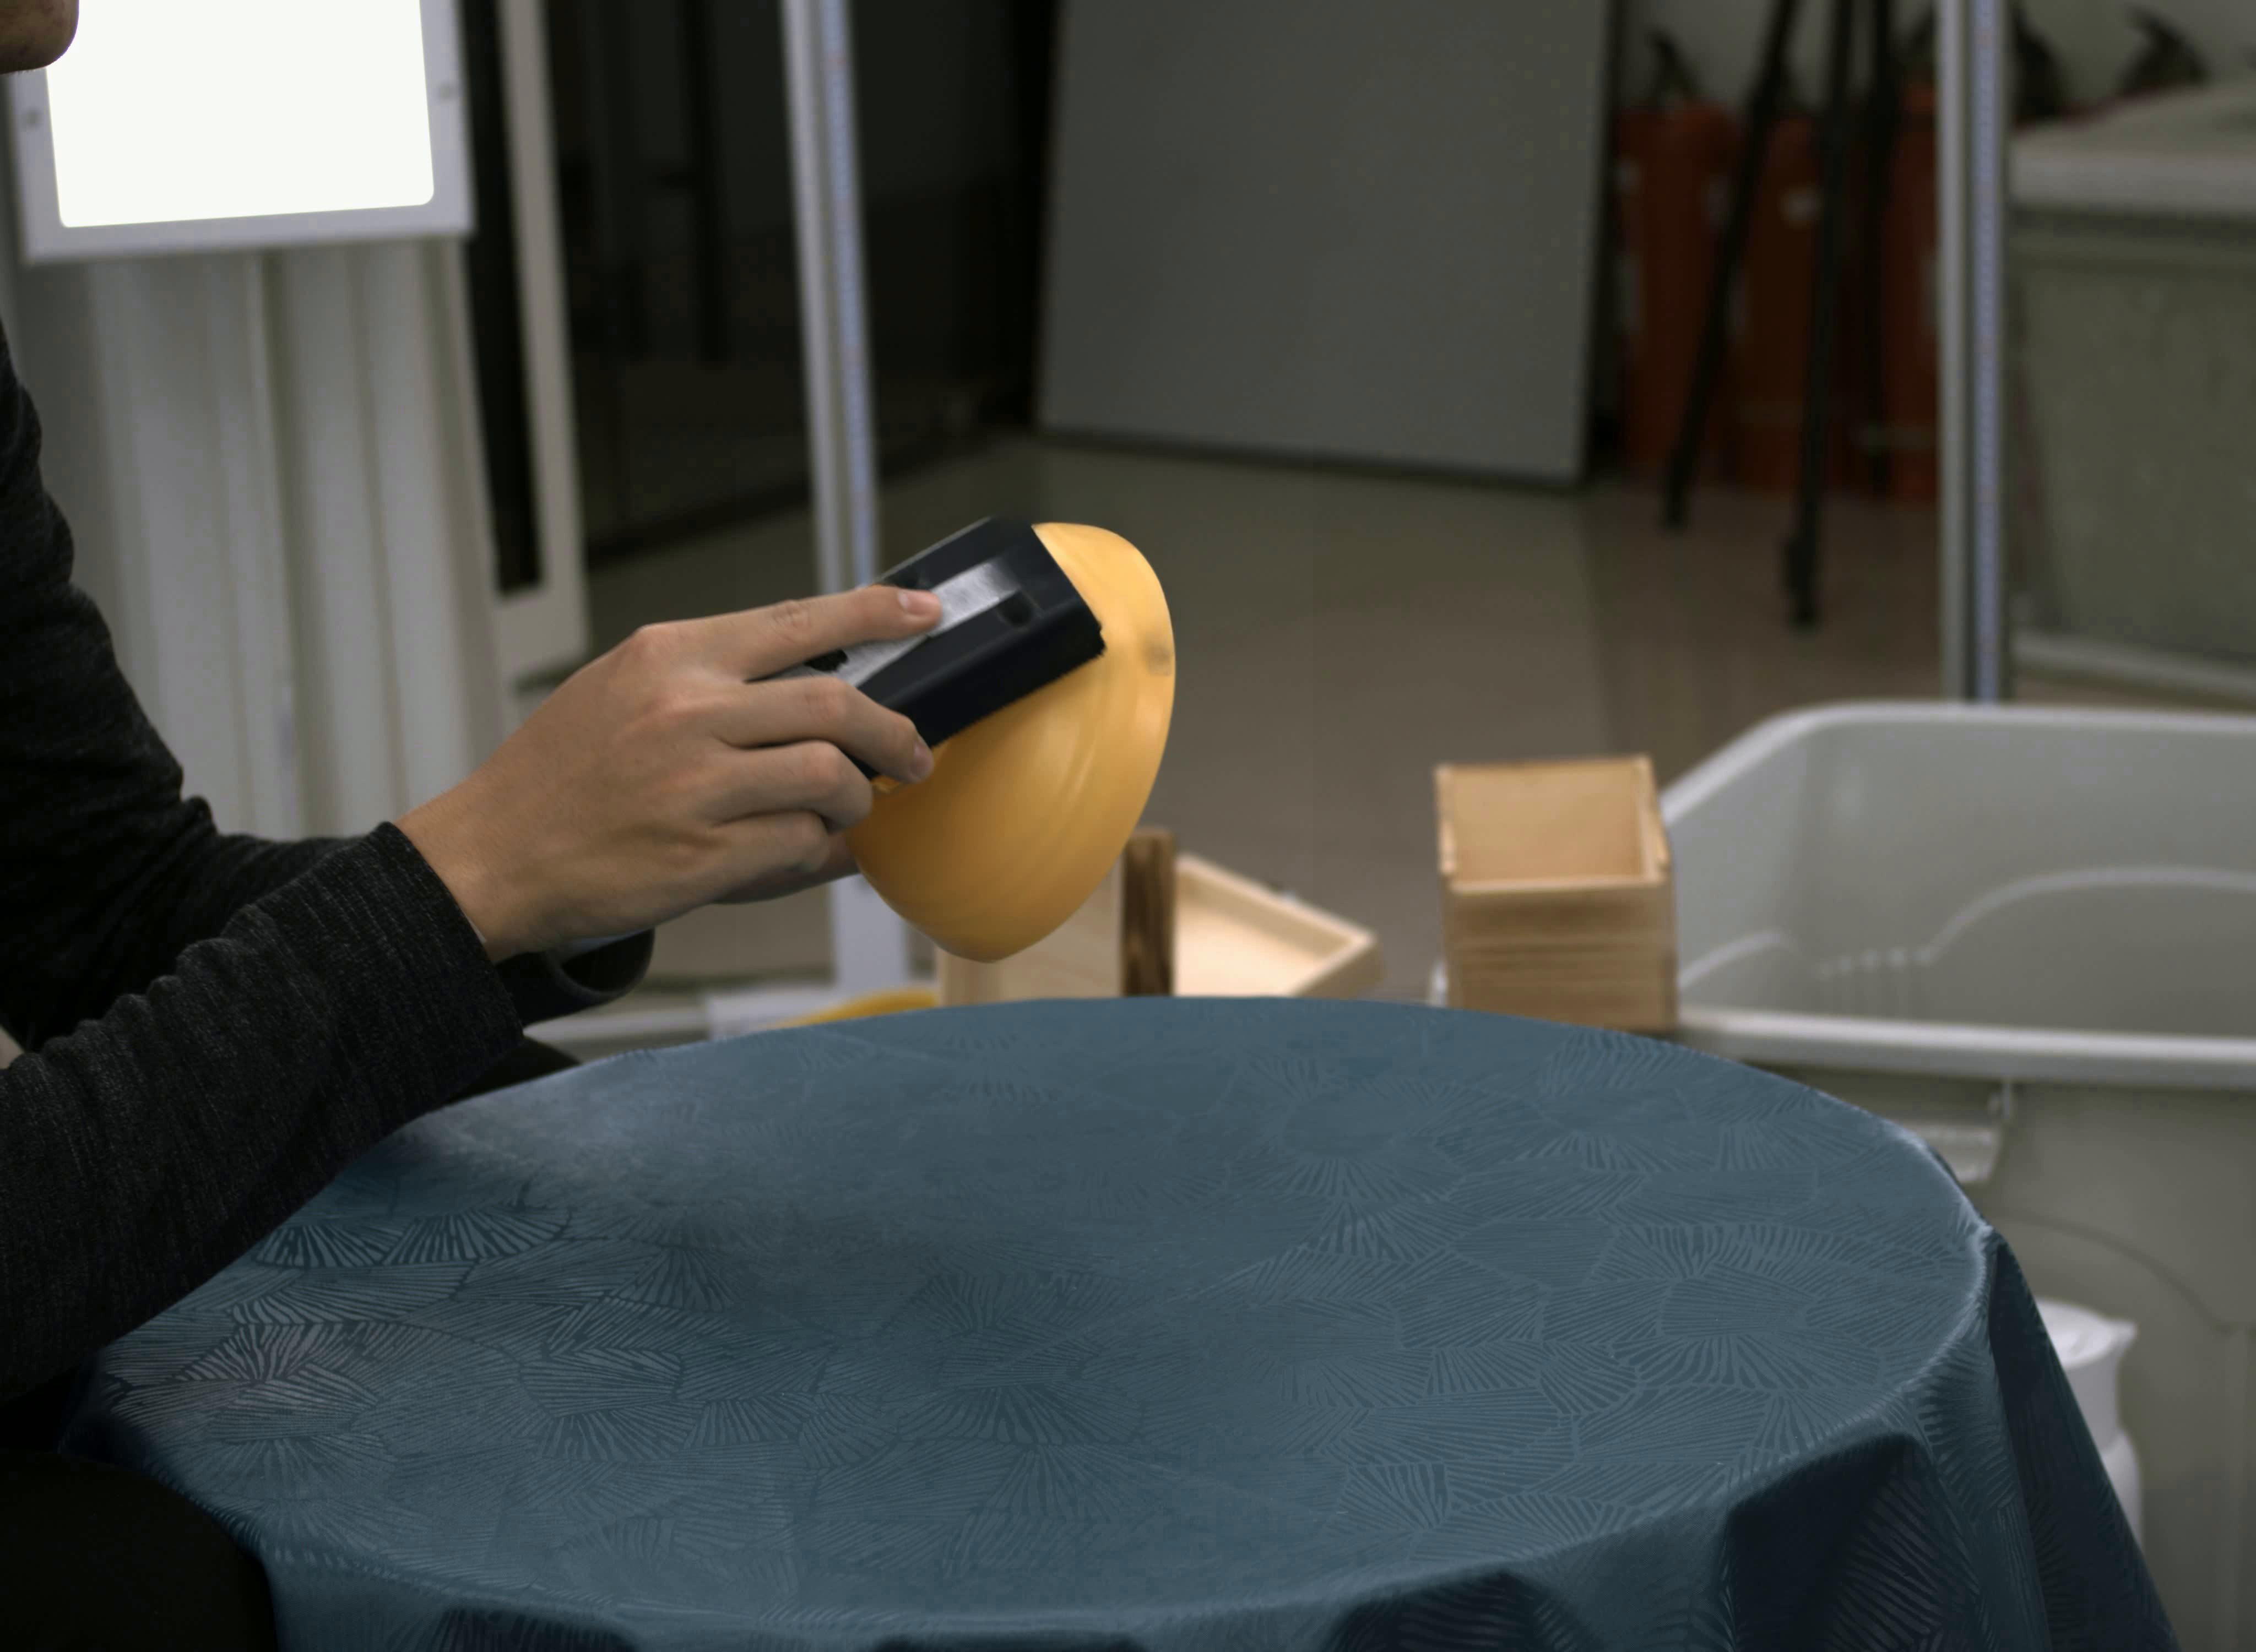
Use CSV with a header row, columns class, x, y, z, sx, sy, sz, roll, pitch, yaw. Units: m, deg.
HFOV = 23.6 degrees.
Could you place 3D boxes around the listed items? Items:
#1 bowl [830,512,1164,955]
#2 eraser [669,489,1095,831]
class,x,y,z,sx,sy,sz,roll,pitch,yaw
bowl,-0.054,-0.038,1.691,0.059,0.147,0.147,21,-1,-32
eraser,-0.074,-0.051,1.633,0.124,0.030,0.054,-31,50,-8
